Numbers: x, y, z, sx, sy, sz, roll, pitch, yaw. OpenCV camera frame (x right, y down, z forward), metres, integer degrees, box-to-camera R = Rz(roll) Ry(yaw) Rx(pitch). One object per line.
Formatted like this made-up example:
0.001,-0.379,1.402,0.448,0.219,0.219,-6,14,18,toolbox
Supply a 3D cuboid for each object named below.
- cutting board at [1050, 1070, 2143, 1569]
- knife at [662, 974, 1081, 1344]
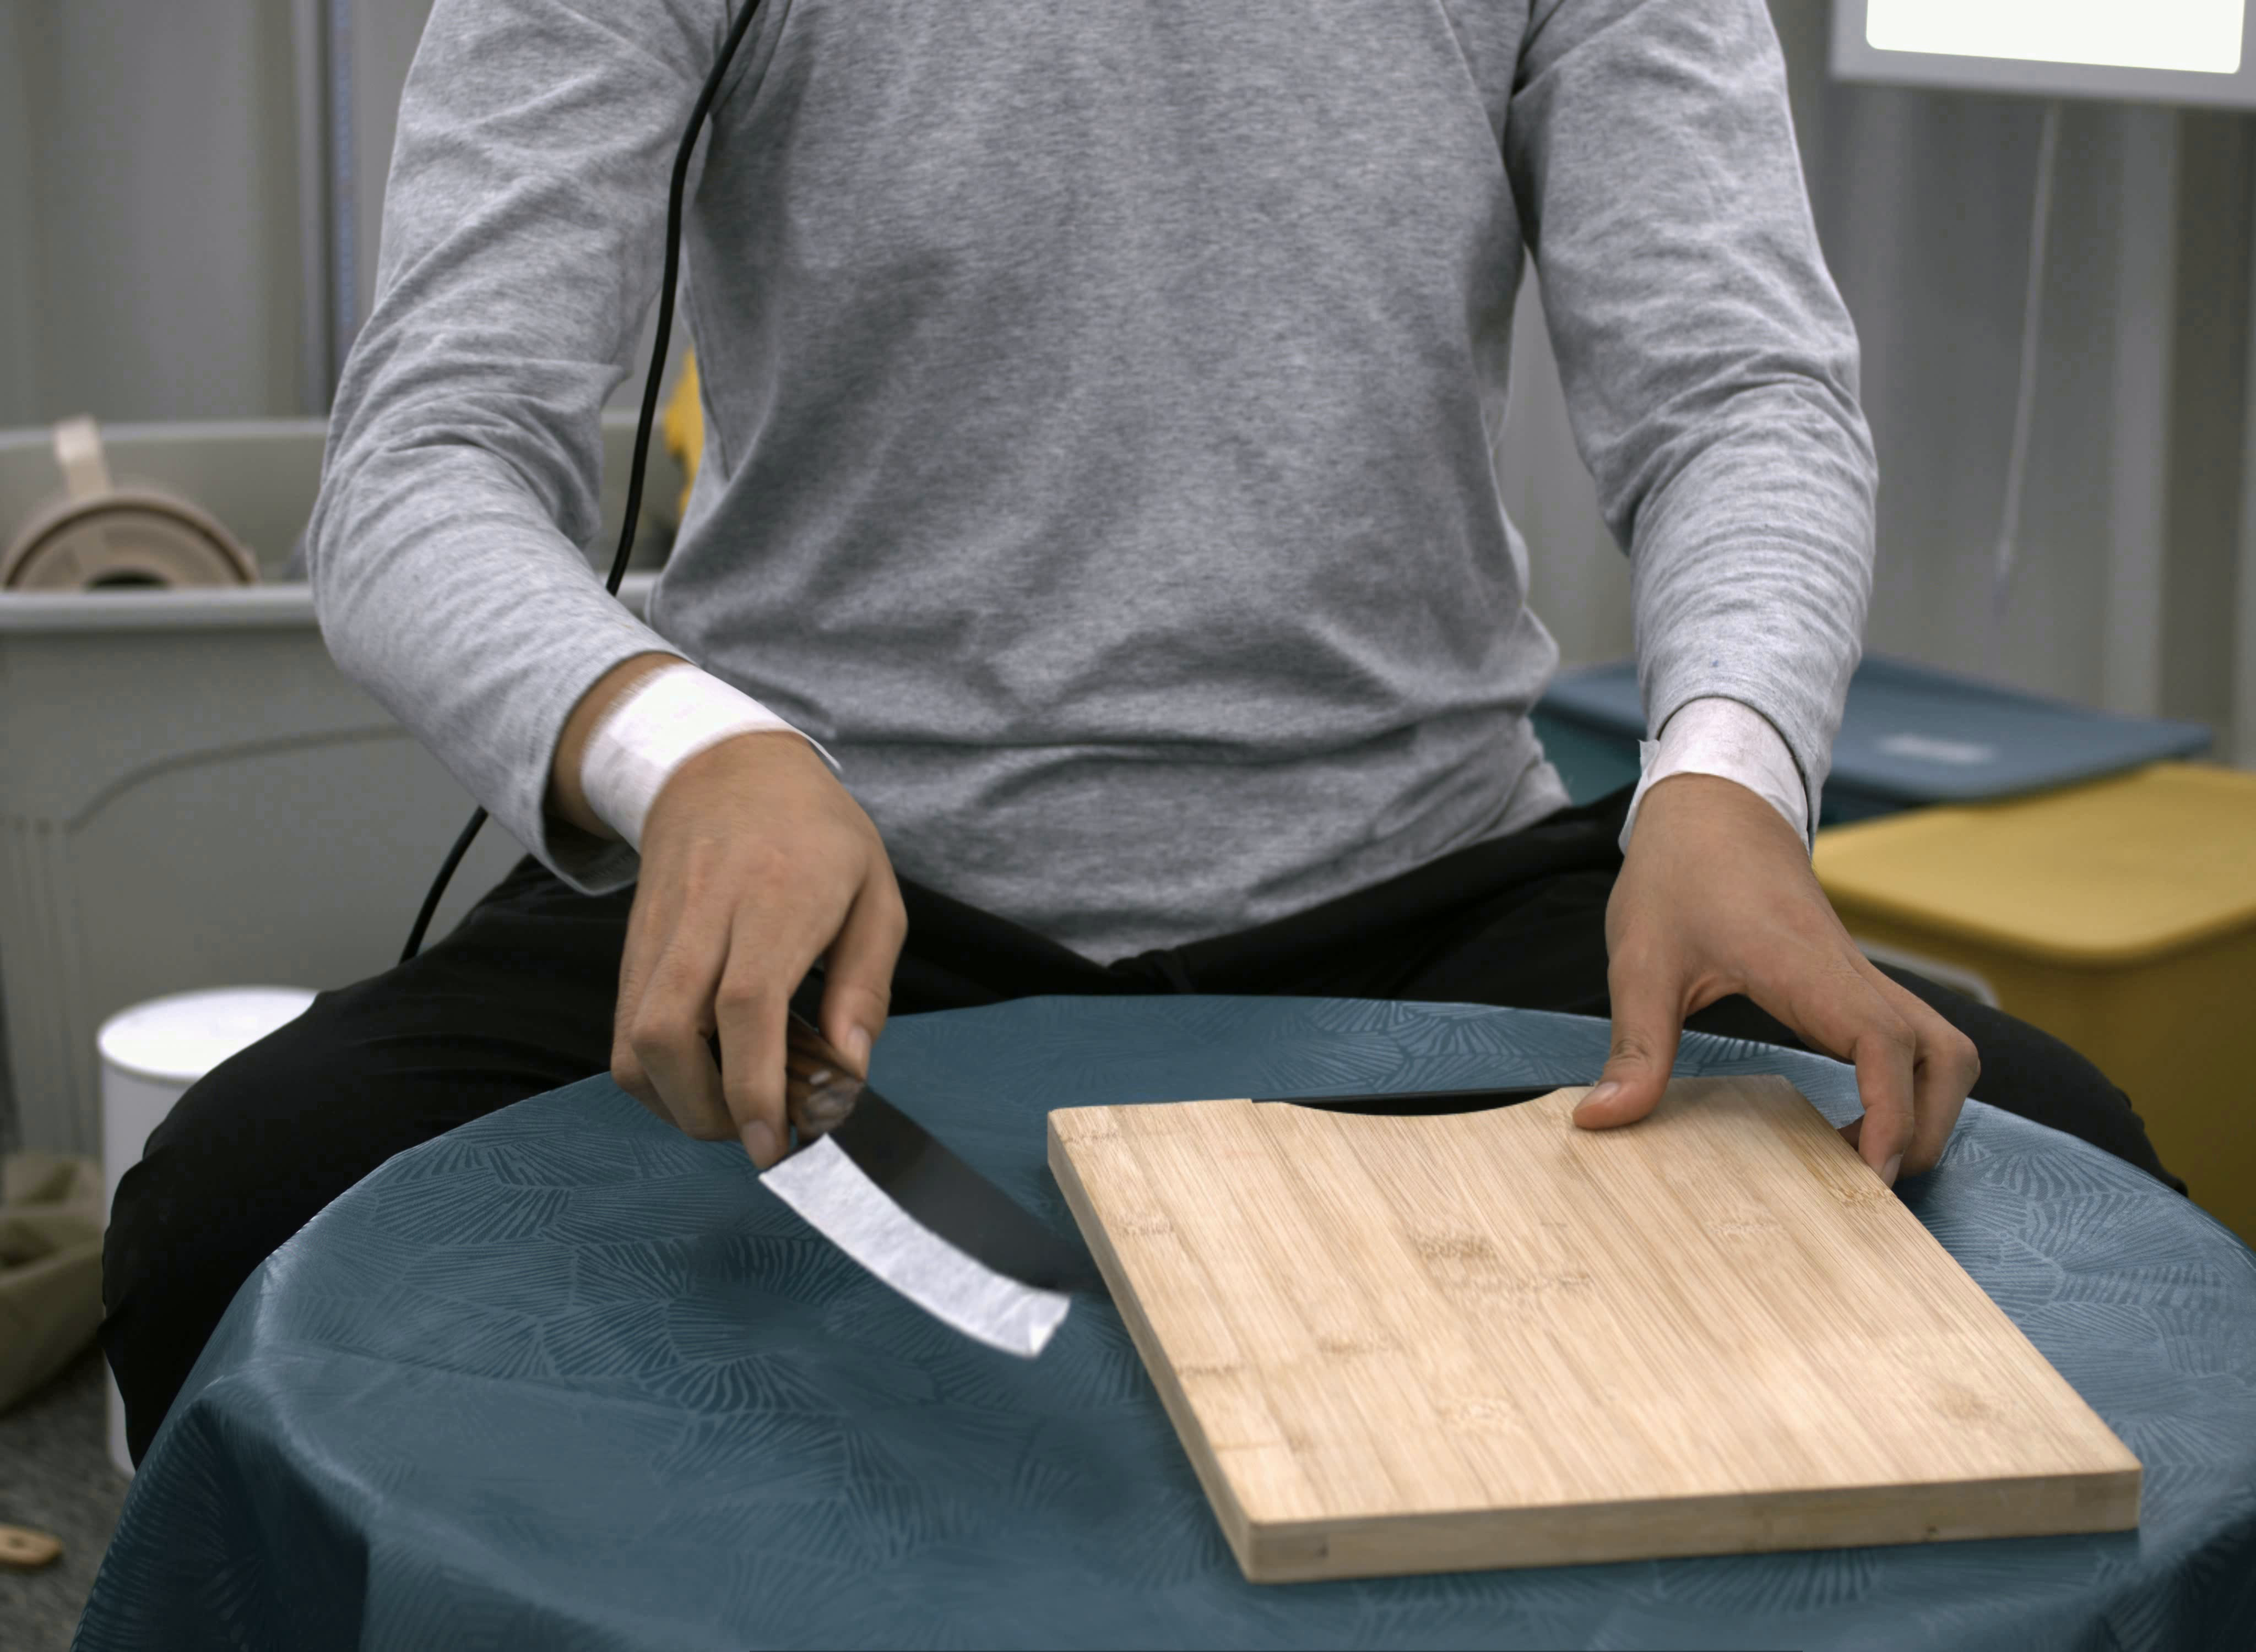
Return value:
0.120,0.135,1.516,0.251,0.024,0.345,-2,15,-10,cutting board
-0.075,0.091,1.469,0.050,0.020,0.285,-33,26,-12,knife
